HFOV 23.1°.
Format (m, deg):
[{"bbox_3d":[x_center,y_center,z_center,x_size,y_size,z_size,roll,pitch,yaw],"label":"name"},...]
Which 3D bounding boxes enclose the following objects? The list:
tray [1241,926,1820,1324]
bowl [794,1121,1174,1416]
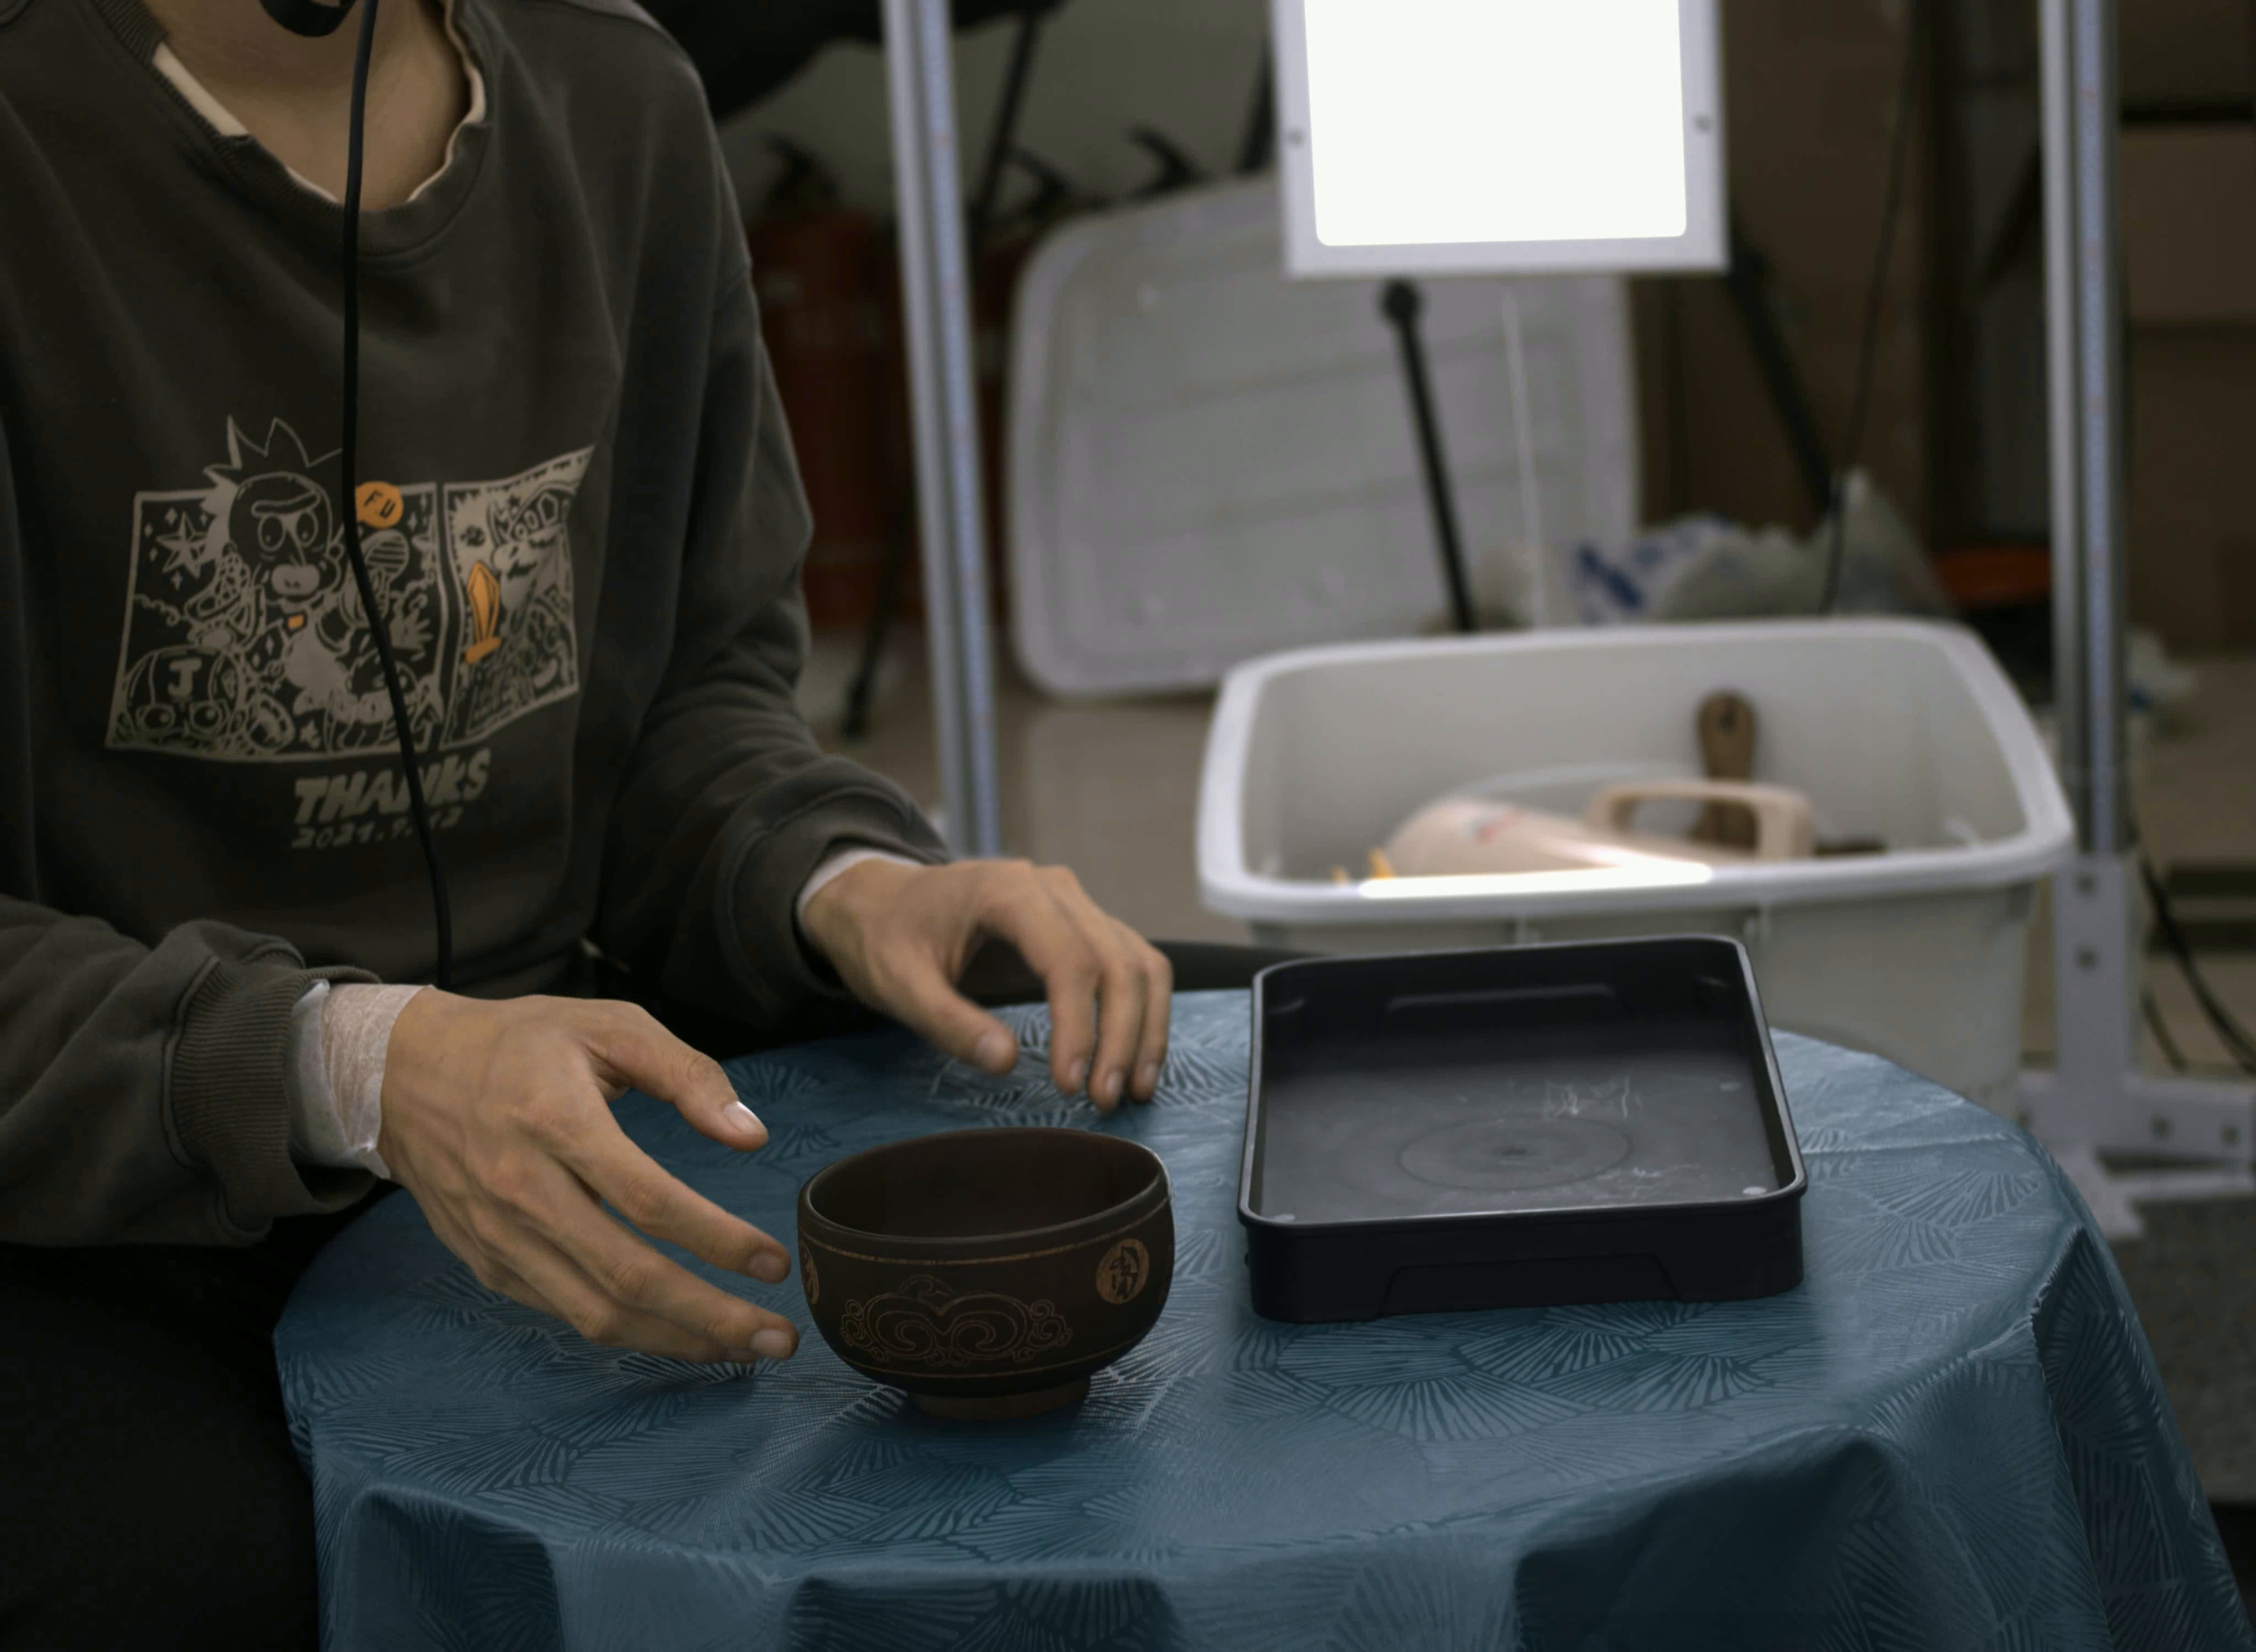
[{"bbox_3d":[0.133,0.098,1.890,0.184,0.037,0.317,-5,14,3],"label":"tray"},{"bbox_3d":[-0.043,0.141,1.705,0.118,0.070,0.118,-6,13,0],"label":"bowl"}]
